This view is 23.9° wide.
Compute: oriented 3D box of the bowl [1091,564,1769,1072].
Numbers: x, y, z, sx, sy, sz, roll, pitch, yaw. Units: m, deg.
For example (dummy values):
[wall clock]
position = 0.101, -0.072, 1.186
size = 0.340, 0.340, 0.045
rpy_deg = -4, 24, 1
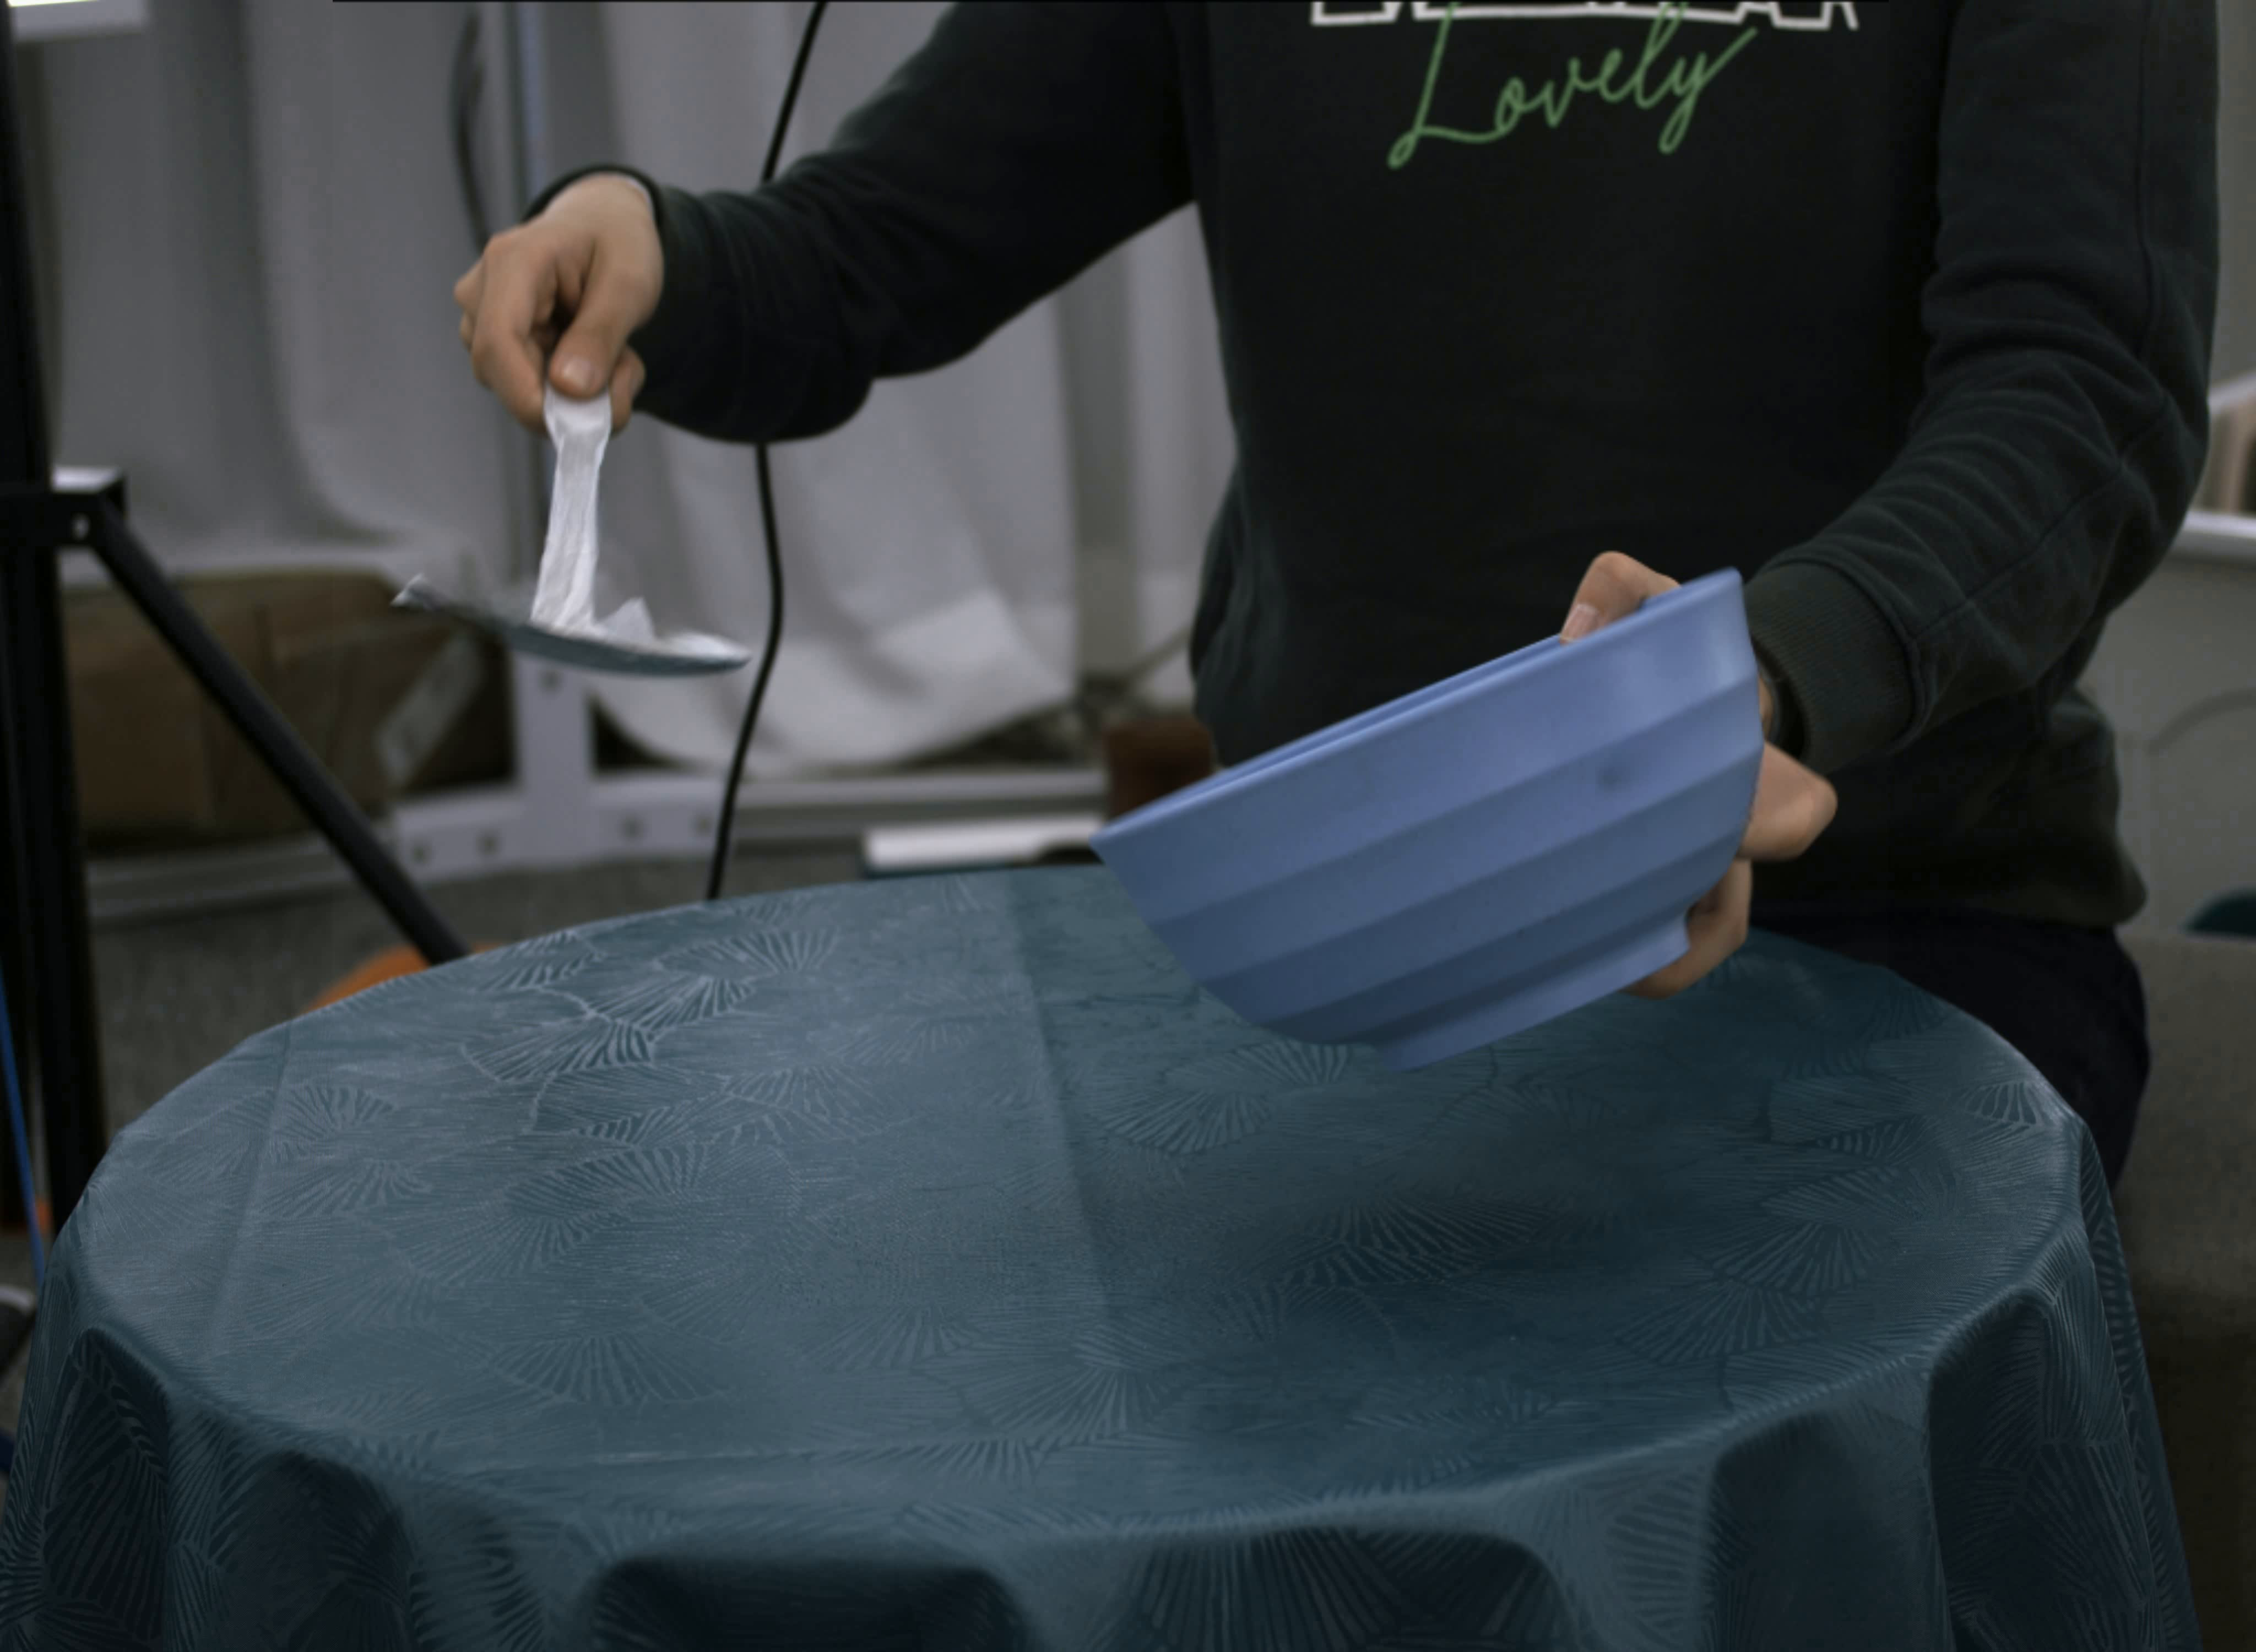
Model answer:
[bowl]
position = 0.097, 0.008, 1.476
size = 0.196, 0.095, 0.197
rpy_deg = -22, 3, -1

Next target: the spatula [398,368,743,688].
[spatula]
position = -0.165, -0.102, 1.632
size = 0.098, 0.045, 0.367
rpy_deg = 10, 21, -7
